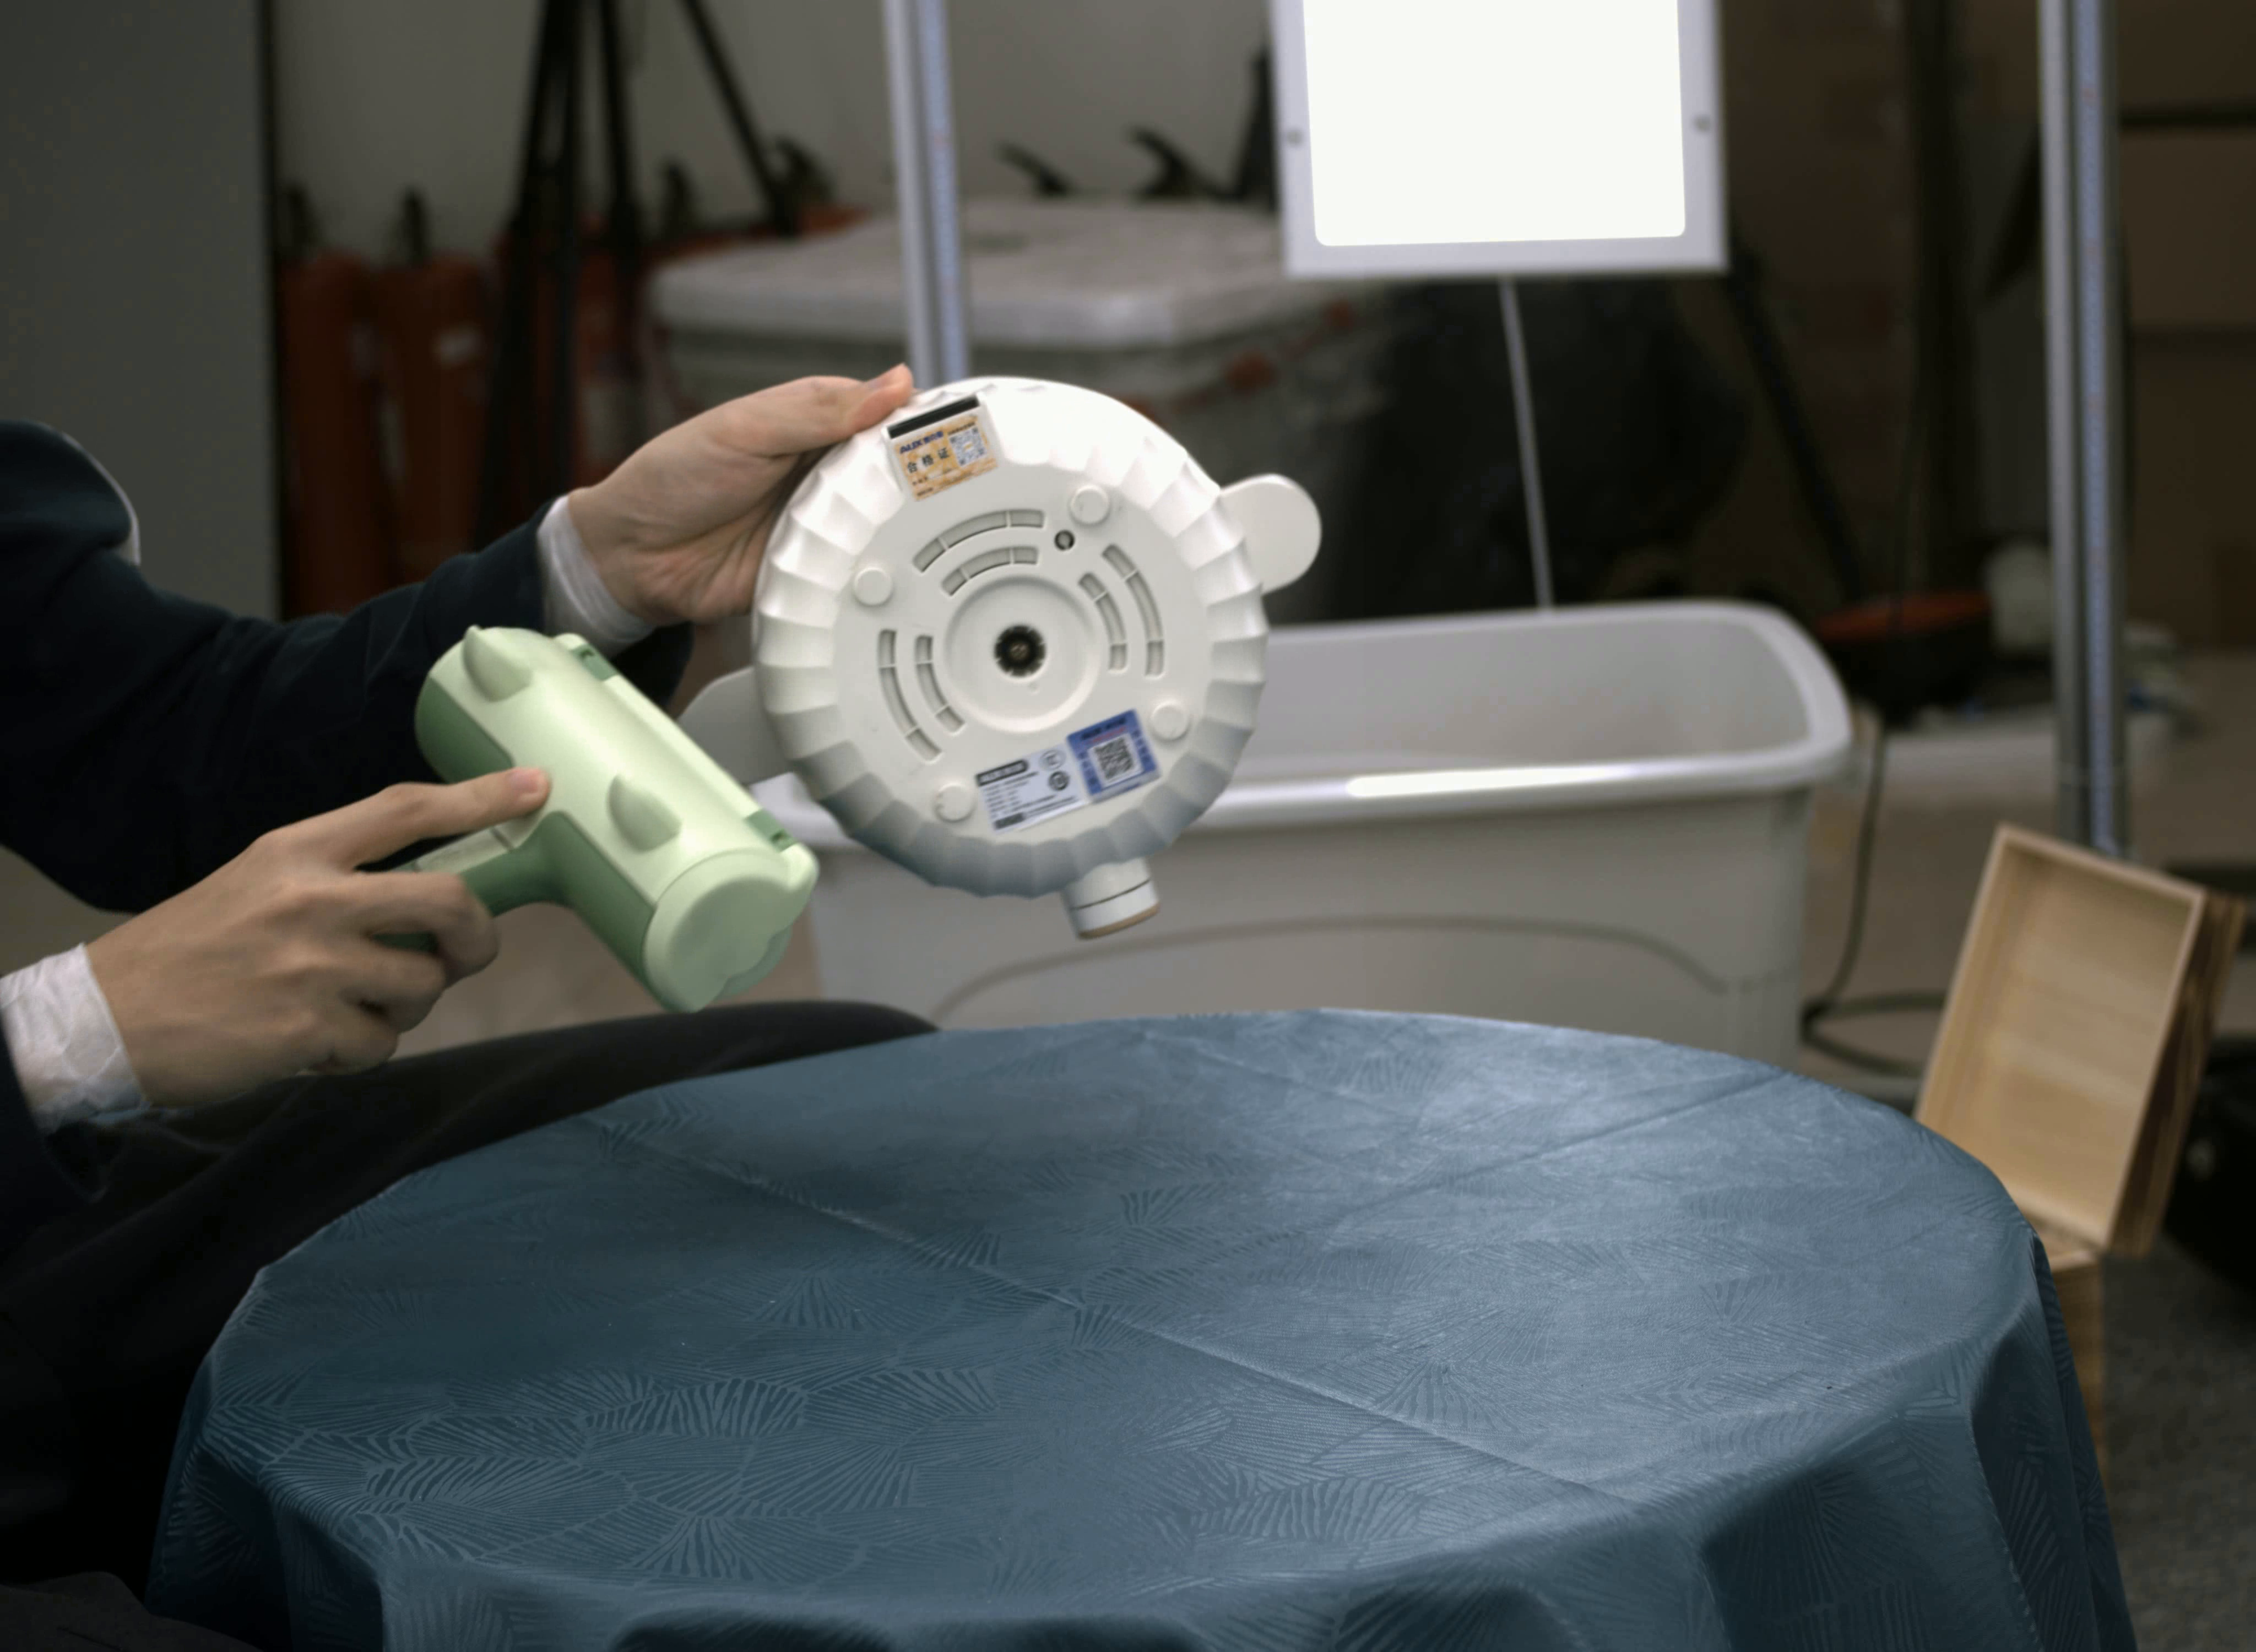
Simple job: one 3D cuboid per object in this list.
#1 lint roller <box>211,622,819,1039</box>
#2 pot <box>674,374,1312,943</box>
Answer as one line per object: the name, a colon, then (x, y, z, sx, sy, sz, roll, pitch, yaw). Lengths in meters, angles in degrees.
lint roller: (-0.223, 0.006, 1.820, 0.180, 0.082, 0.201, -22, 35, -21)
pot: (-0.043, -0.059, 1.909, 0.240, 0.191, 0.142, -19, 9, 1)
